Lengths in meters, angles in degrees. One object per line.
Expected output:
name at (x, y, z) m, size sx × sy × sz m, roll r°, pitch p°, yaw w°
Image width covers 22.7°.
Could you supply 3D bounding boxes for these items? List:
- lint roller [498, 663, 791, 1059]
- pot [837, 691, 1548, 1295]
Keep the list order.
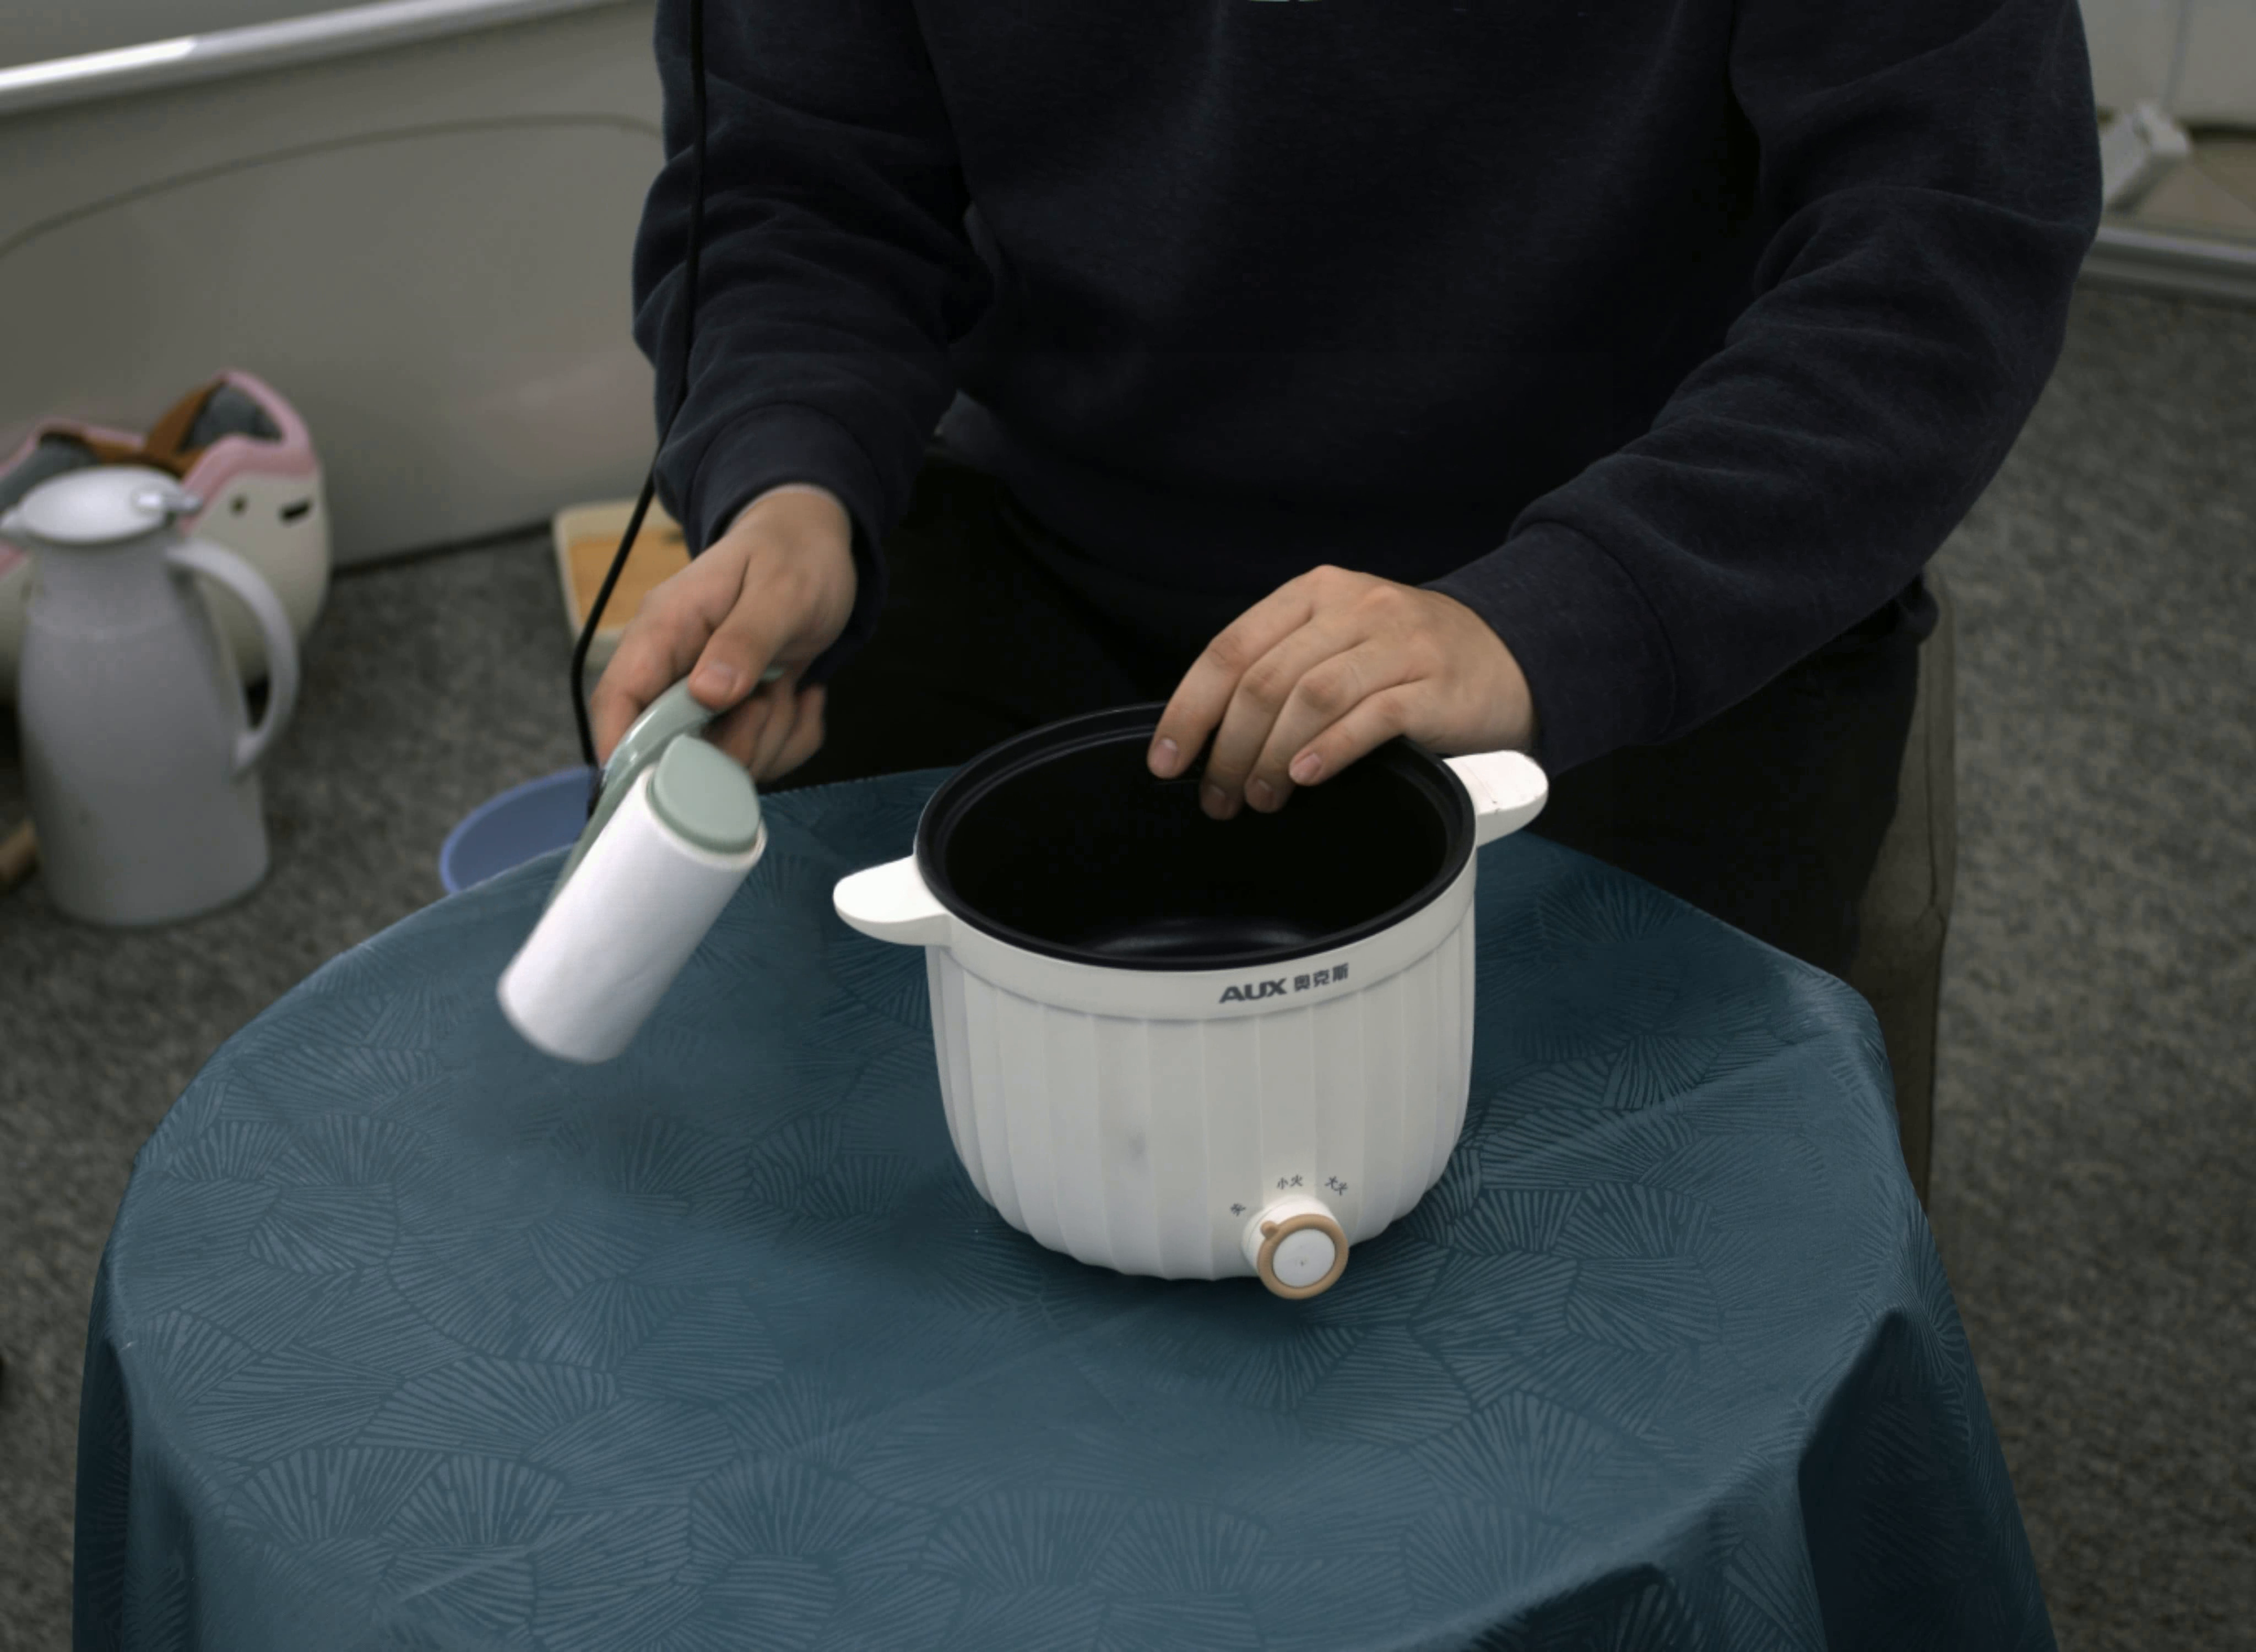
lint roller at (-0.155, -0.011, 1.931) m, size 0.048 × 0.115 × 0.201 m, roll 32°, pitch 31°, yaw -11°
pot at (0.028, 0.059, 1.834) m, size 0.240 × 0.141 × 0.192 m, roll -12°, pitch 25°, yaw -14°
